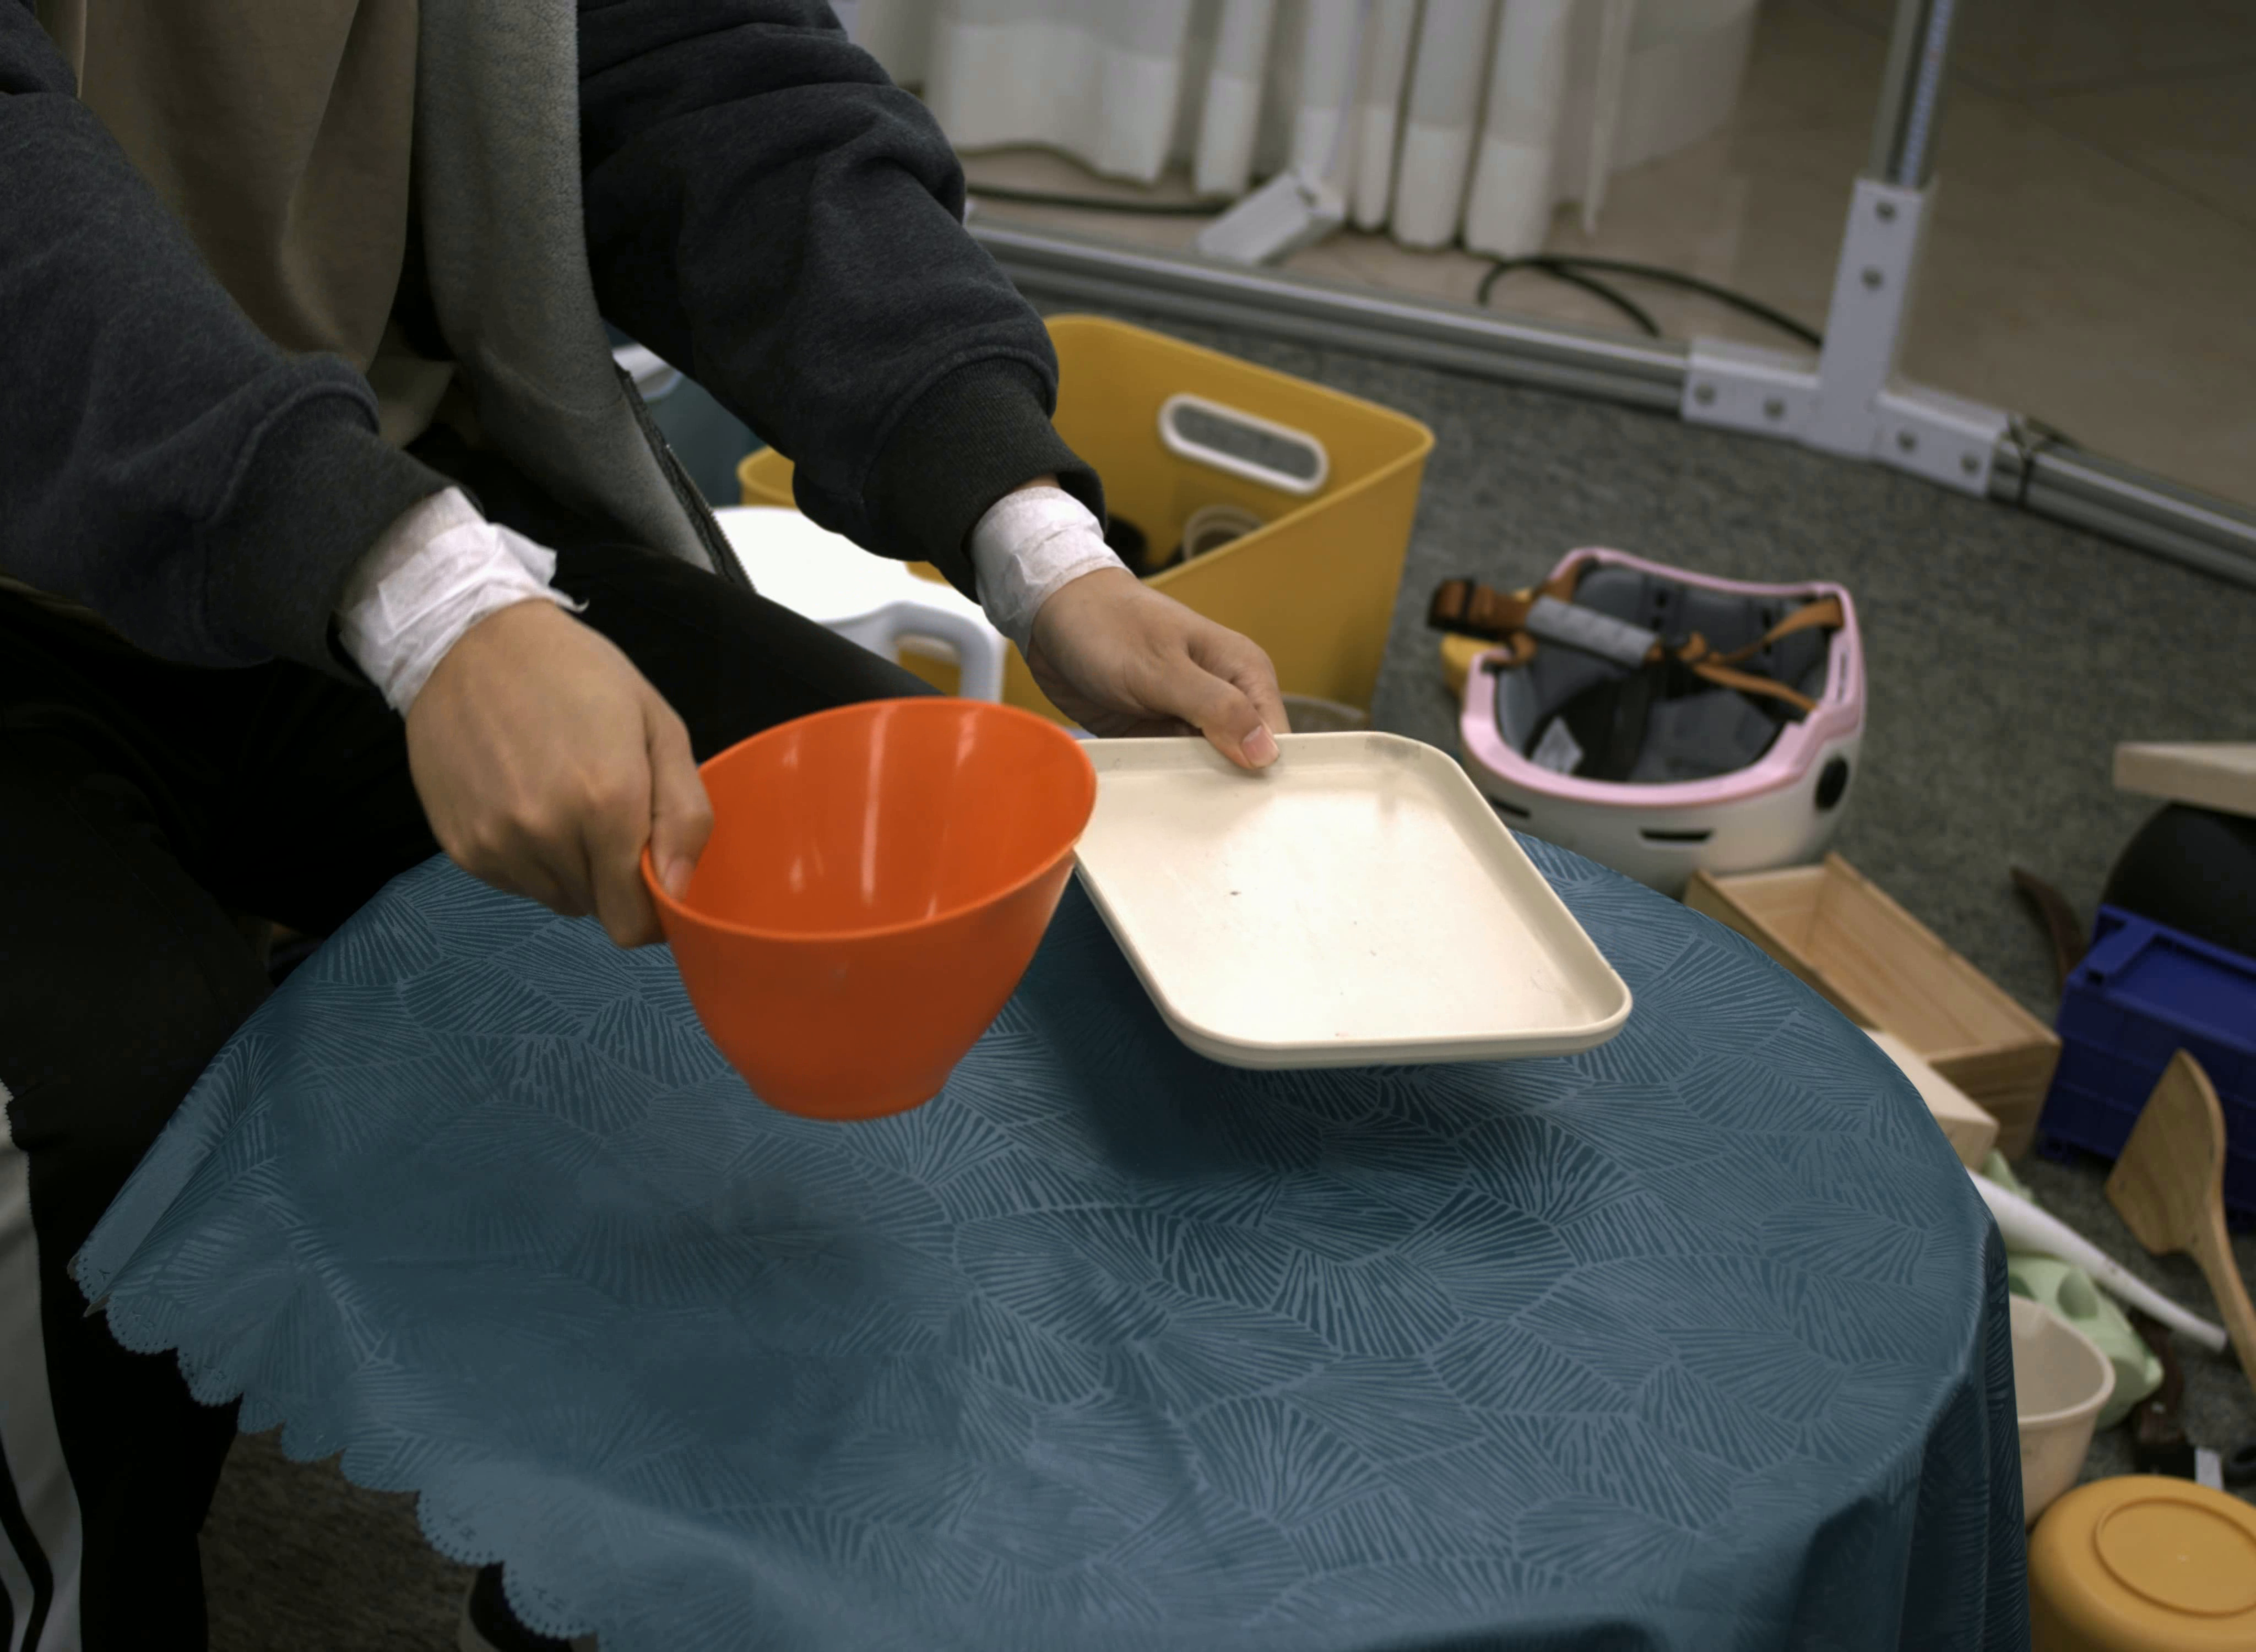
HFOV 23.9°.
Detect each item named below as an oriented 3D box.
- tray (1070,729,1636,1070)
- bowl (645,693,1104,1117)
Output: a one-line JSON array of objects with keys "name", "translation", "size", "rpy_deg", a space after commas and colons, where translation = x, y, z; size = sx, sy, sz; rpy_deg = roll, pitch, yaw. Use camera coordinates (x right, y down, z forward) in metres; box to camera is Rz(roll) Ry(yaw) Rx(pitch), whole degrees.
[{"name": "tray", "translation": [0.068, 0.025, 1.902], "size": [0.170, 0.017, 0.242], "rpy_deg": [-2, 27, -17]}, {"name": "bowl", "translation": [-0.082, 0.031, 1.725], "size": [0.147, 0.104, 0.149], "rpy_deg": [1, 26, -1]}]
